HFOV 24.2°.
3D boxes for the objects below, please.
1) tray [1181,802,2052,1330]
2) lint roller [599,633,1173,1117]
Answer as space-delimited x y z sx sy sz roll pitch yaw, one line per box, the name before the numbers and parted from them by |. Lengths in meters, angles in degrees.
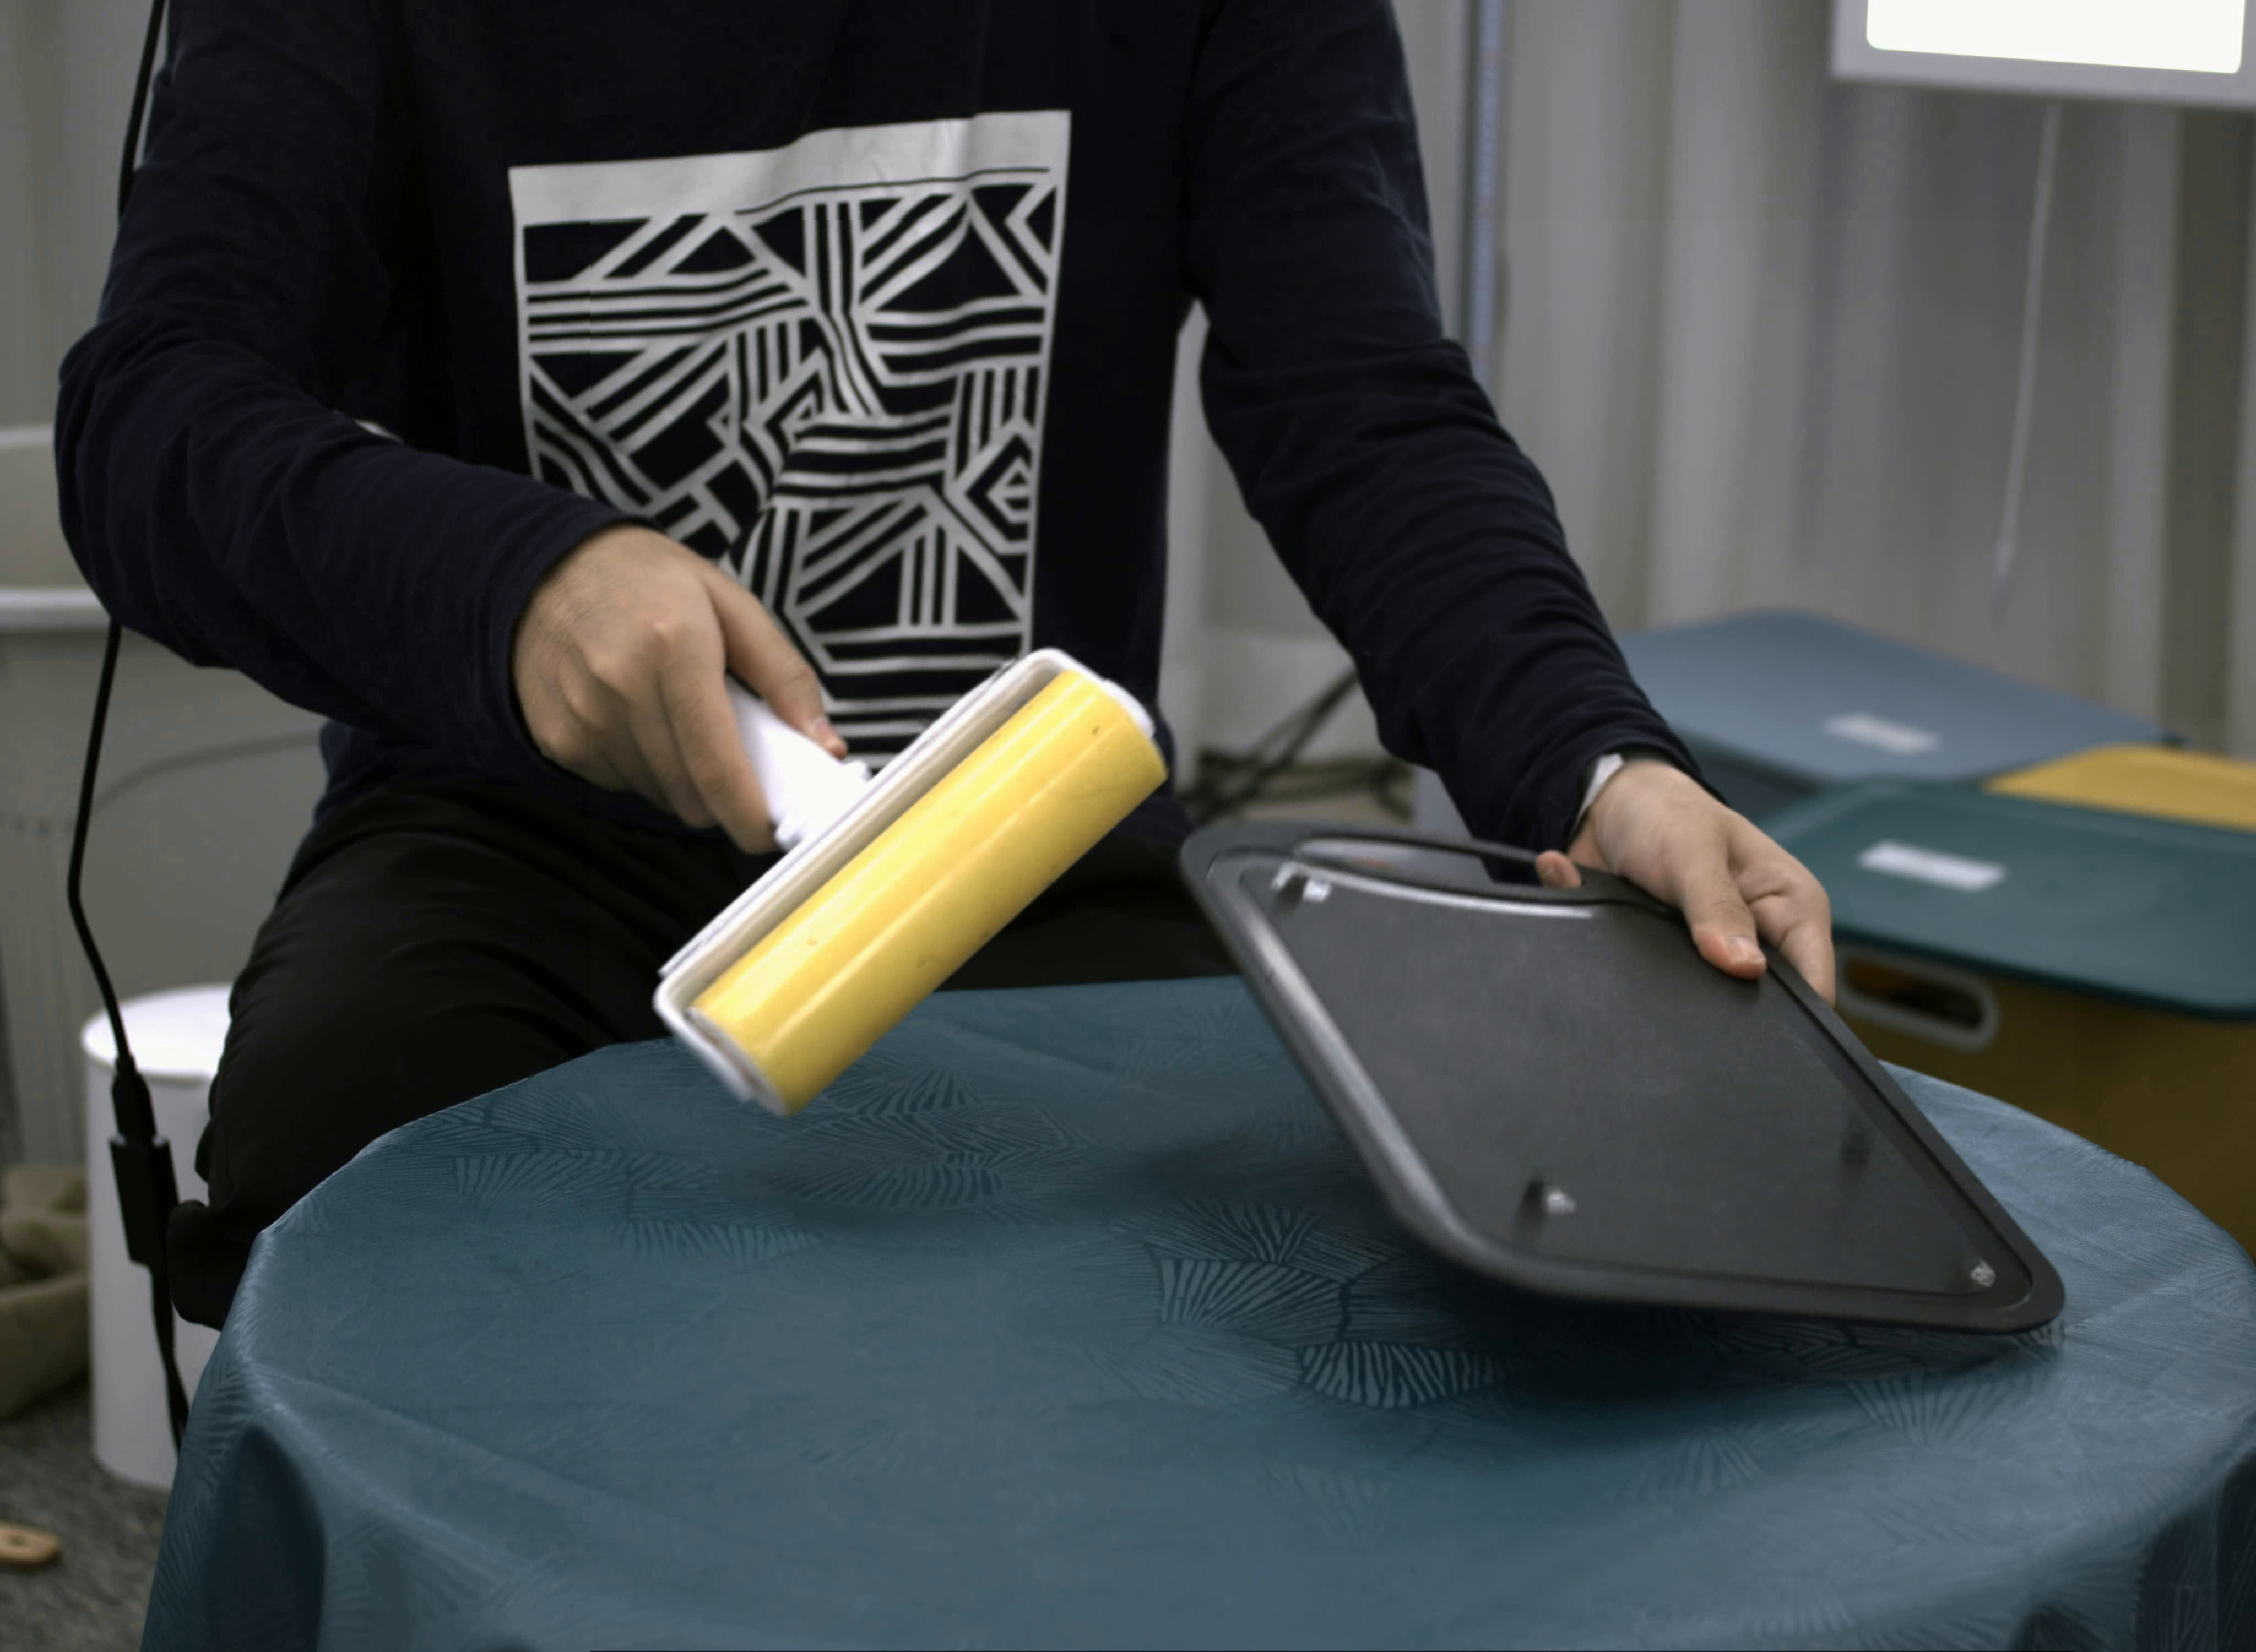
tray | 0.138 0.063 1.595 0.212 0.010 0.321 9 22 -20
lint roller | -0.107 -0.017 1.666 0.174 0.052 0.189 -44 60 -15
